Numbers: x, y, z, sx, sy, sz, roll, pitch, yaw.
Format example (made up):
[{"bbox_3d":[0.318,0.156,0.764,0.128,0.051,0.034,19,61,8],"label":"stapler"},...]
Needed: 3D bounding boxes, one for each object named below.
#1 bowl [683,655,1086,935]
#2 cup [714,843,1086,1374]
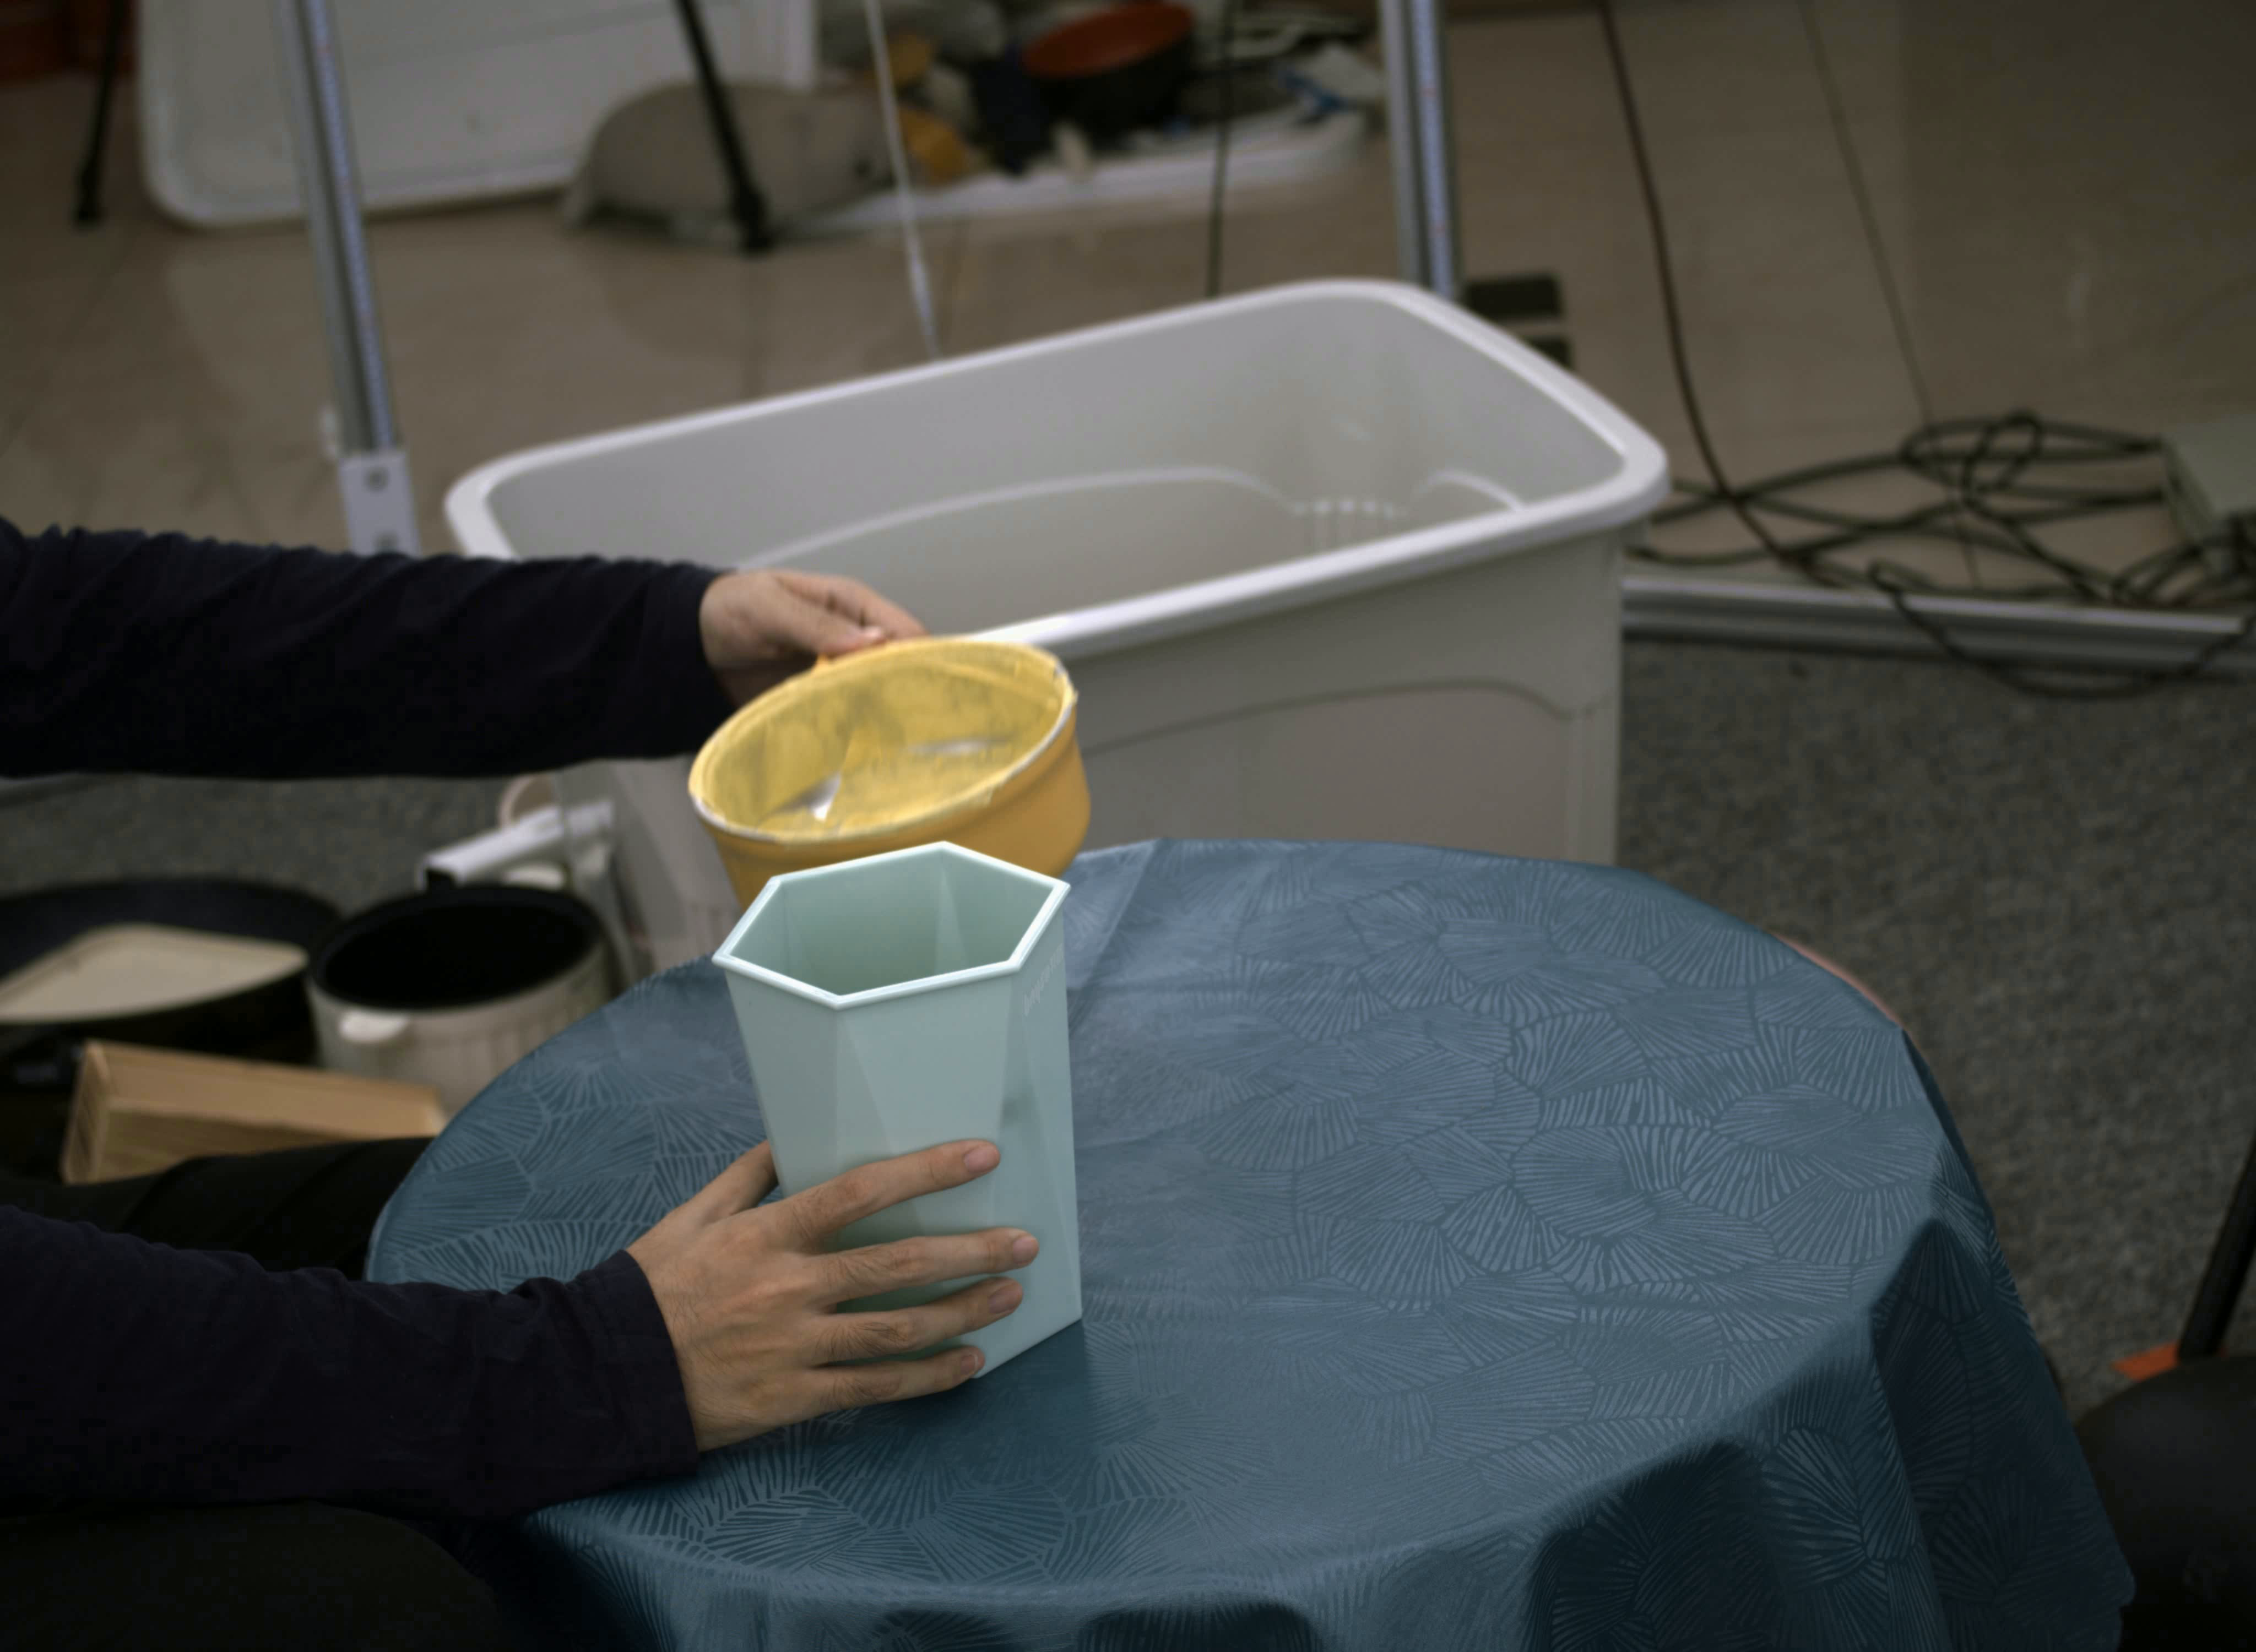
[{"bbox_3d":[-0.090,-0.006,2.189,0.152,0.075,0.176,-20,29,-3],"label":"bowl"},{"bbox_3d":[-0.074,0.105,2.043,0.115,0.165,0.129,-1,24,14],"label":"cup"}]
